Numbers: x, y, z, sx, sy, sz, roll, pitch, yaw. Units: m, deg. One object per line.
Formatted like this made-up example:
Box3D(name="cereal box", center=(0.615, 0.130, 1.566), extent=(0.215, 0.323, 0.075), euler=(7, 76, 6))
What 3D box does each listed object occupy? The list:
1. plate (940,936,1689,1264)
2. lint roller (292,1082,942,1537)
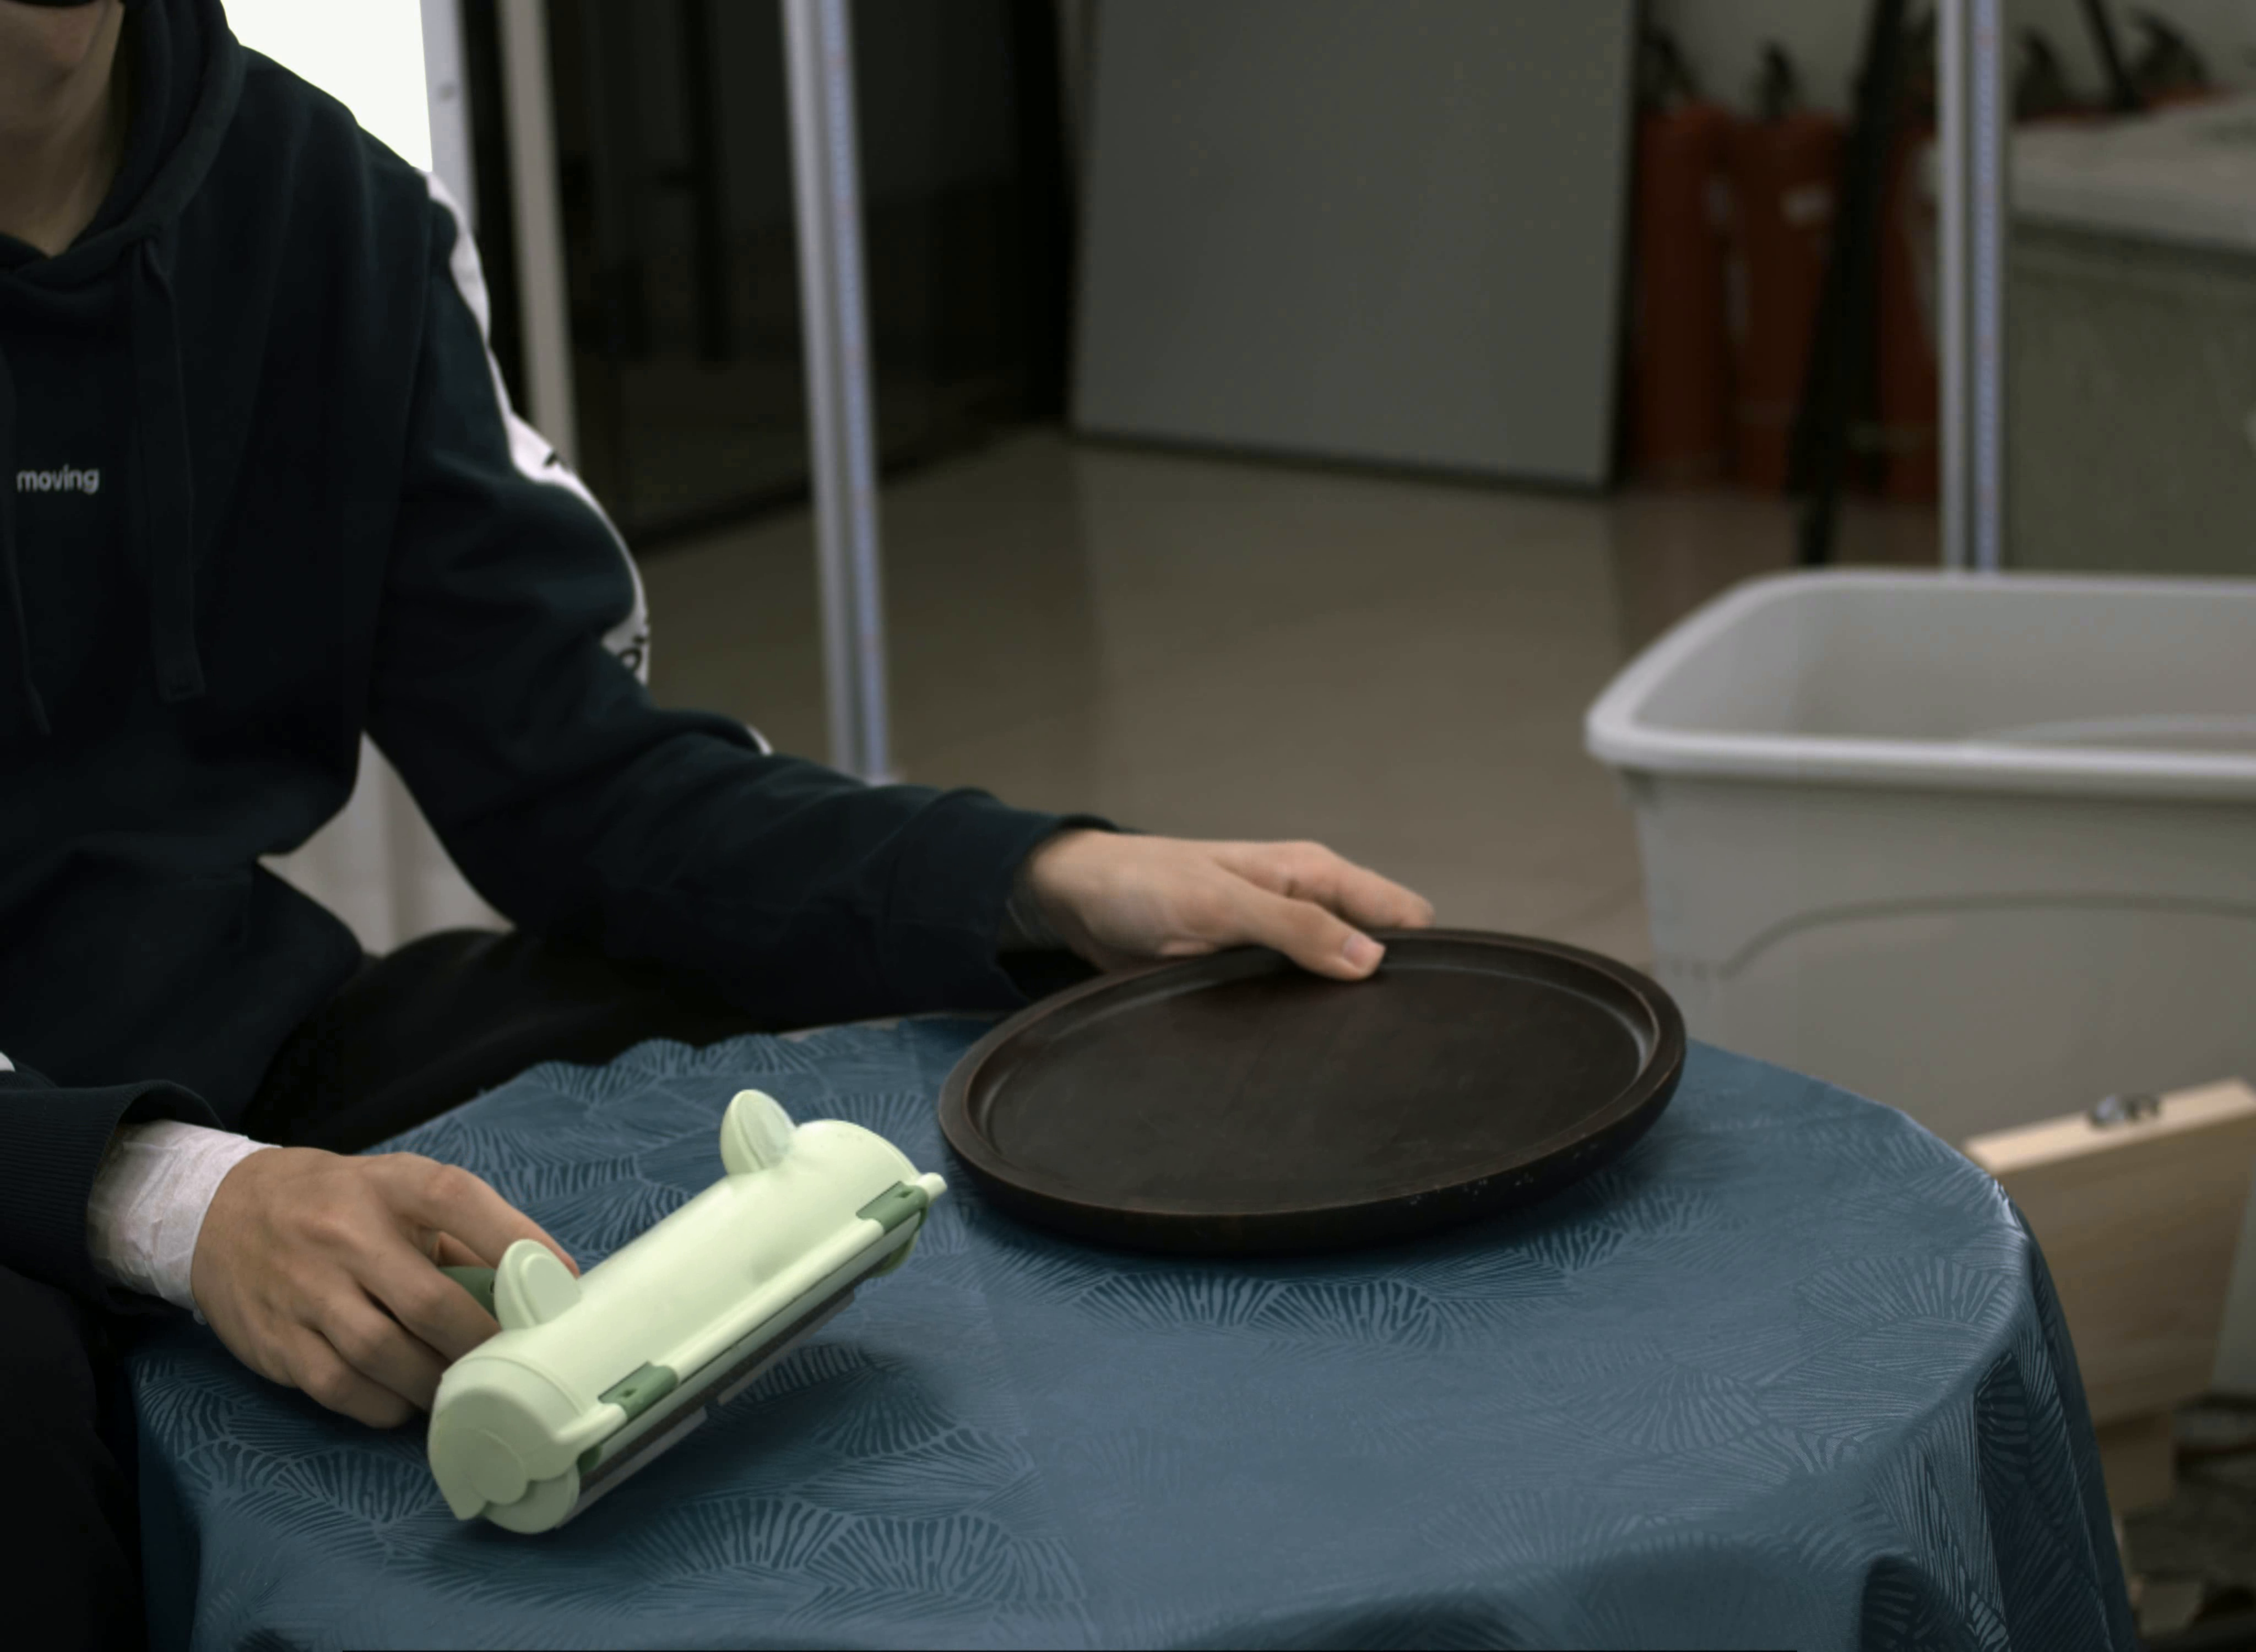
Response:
Box3D(name="plate", center=(0.062, 0.088, 1.793), extent=(0.252, 0.029, 0.255), euler=(-7, 19, 2))
Box3D(name="lint roller", center=(-0.177, 0.131, 1.592), extent=(0.184, 0.083, 0.196), euler=(5, 22, 31))
